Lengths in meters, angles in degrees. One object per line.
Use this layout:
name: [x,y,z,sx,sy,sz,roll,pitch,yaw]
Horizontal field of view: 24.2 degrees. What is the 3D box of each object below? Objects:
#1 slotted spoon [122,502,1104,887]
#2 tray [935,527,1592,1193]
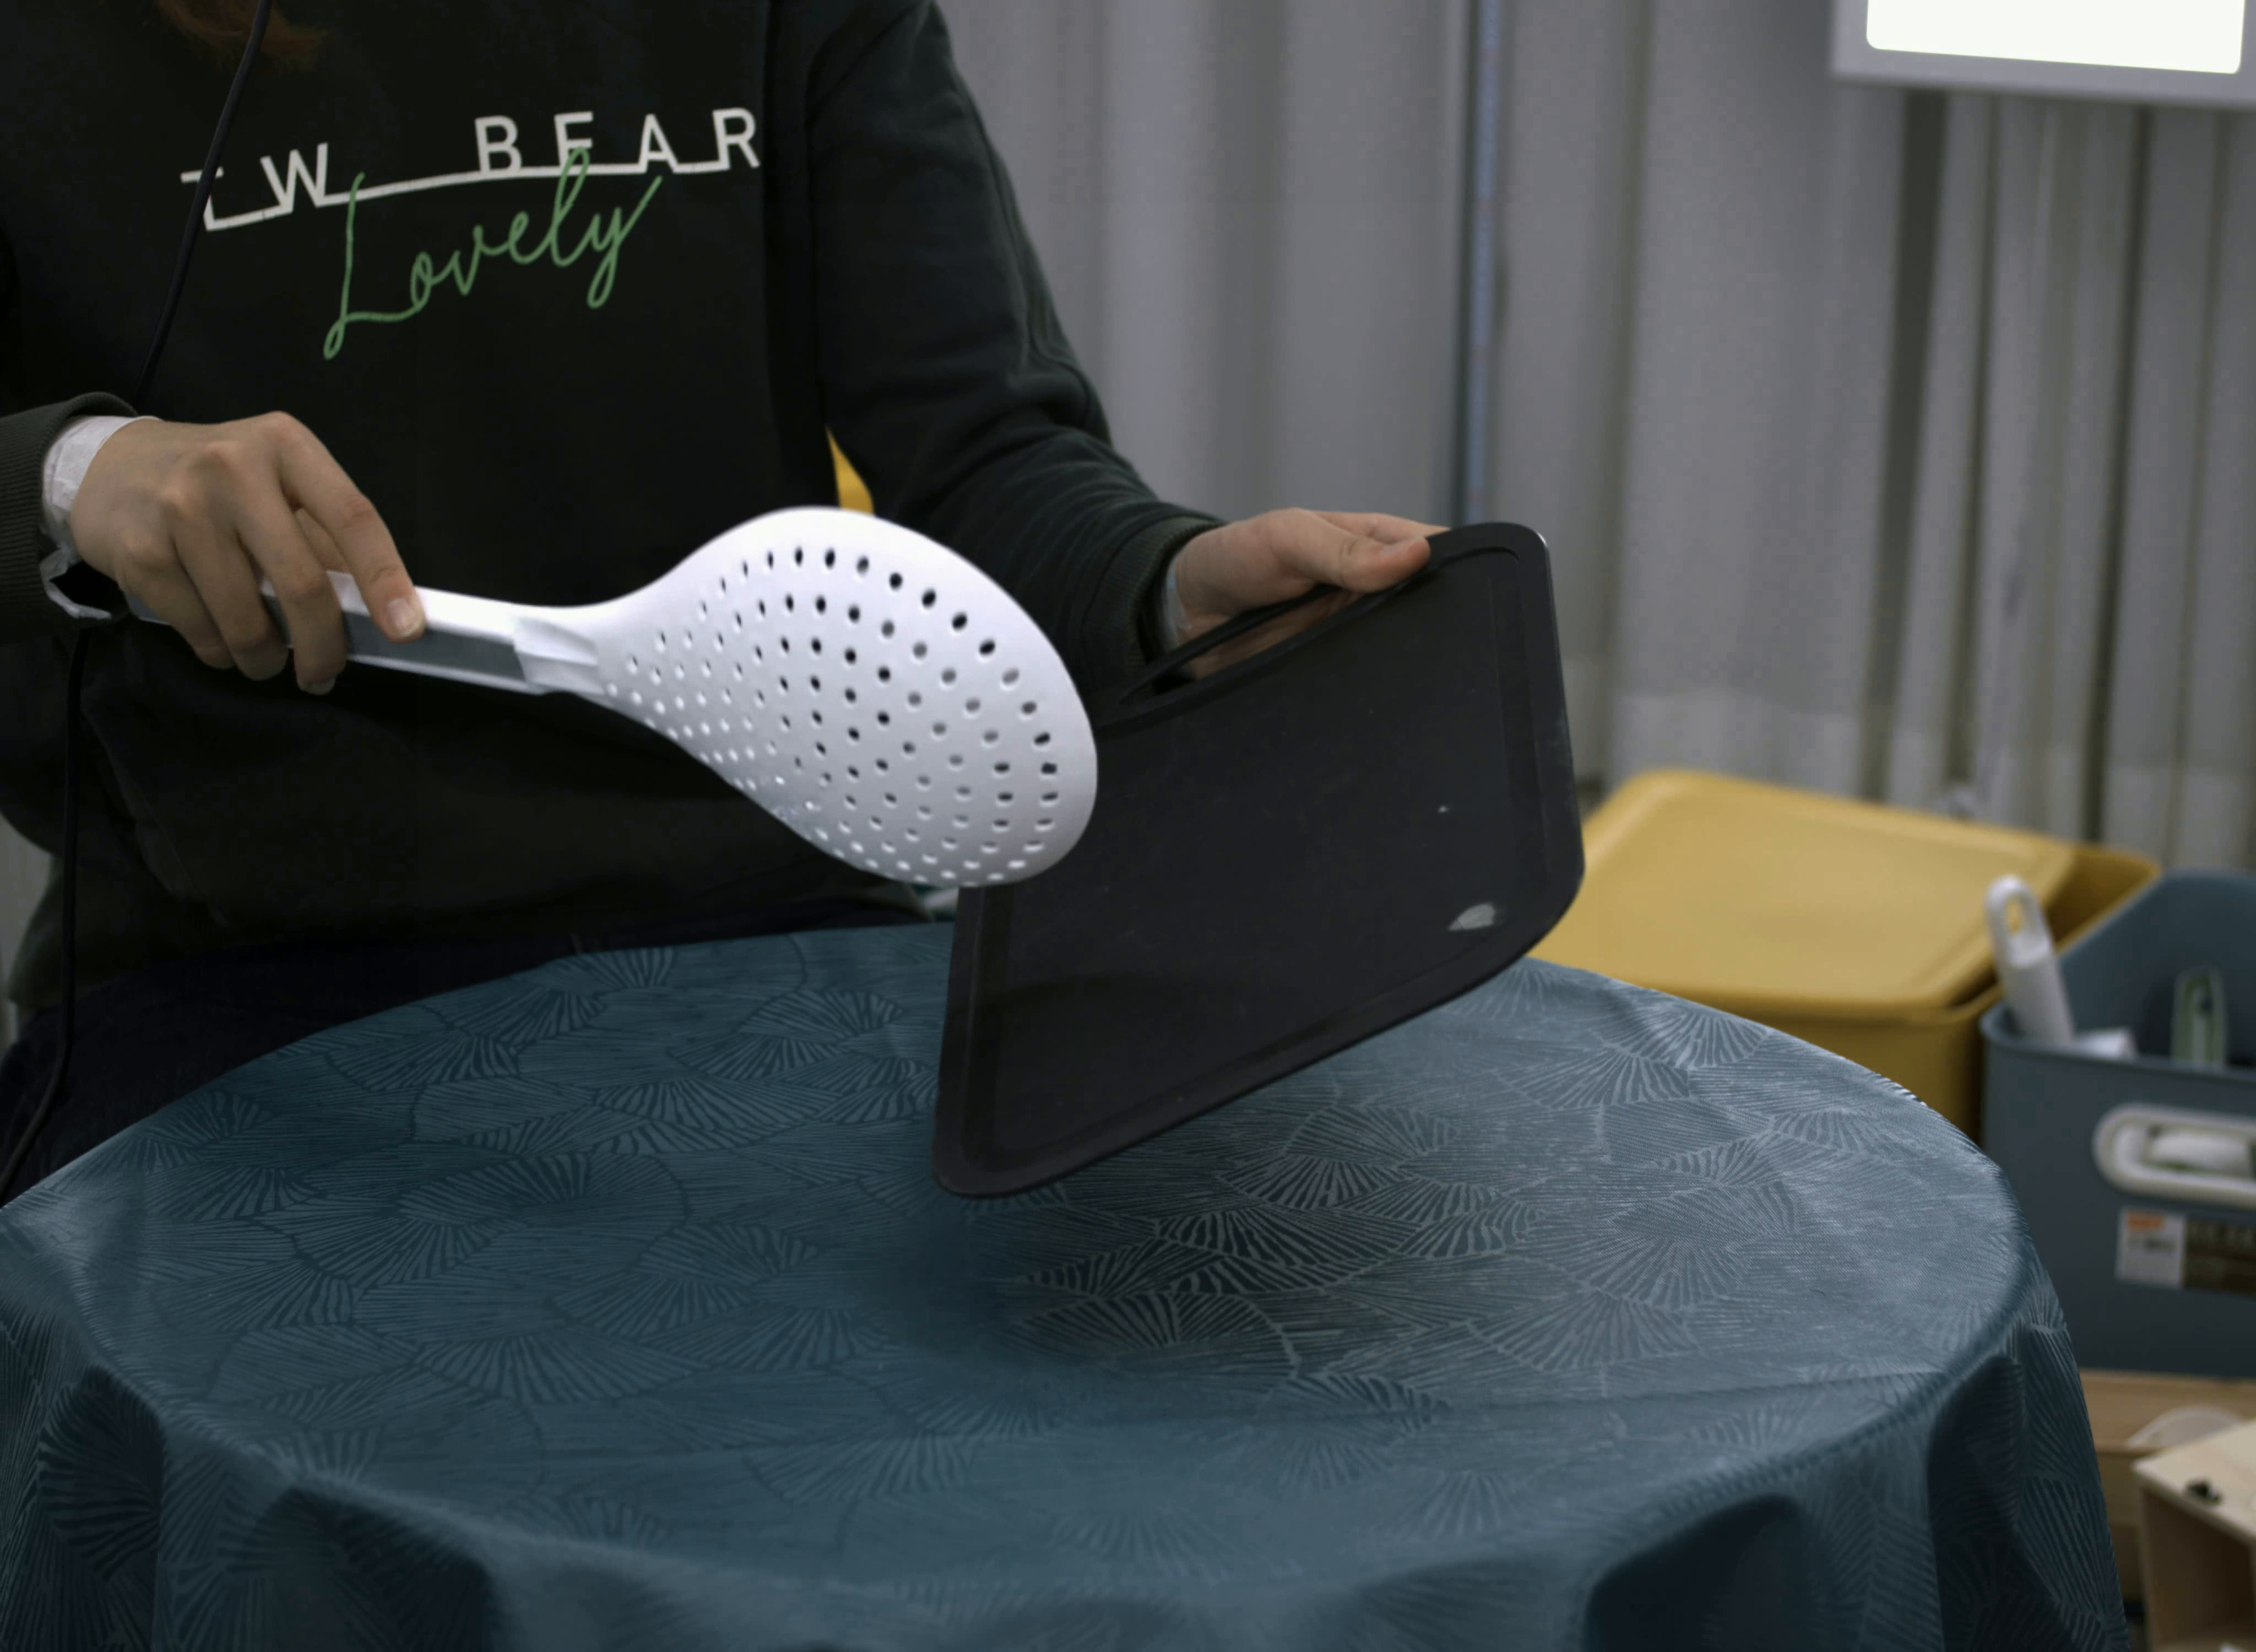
slotted spoon: [-0.164,-0.051,1.592,0.345,0.138,0.045,14,44,30]
tray: [0.039,0.000,1.591,0.210,0.010,0.323,-25,24,13]
